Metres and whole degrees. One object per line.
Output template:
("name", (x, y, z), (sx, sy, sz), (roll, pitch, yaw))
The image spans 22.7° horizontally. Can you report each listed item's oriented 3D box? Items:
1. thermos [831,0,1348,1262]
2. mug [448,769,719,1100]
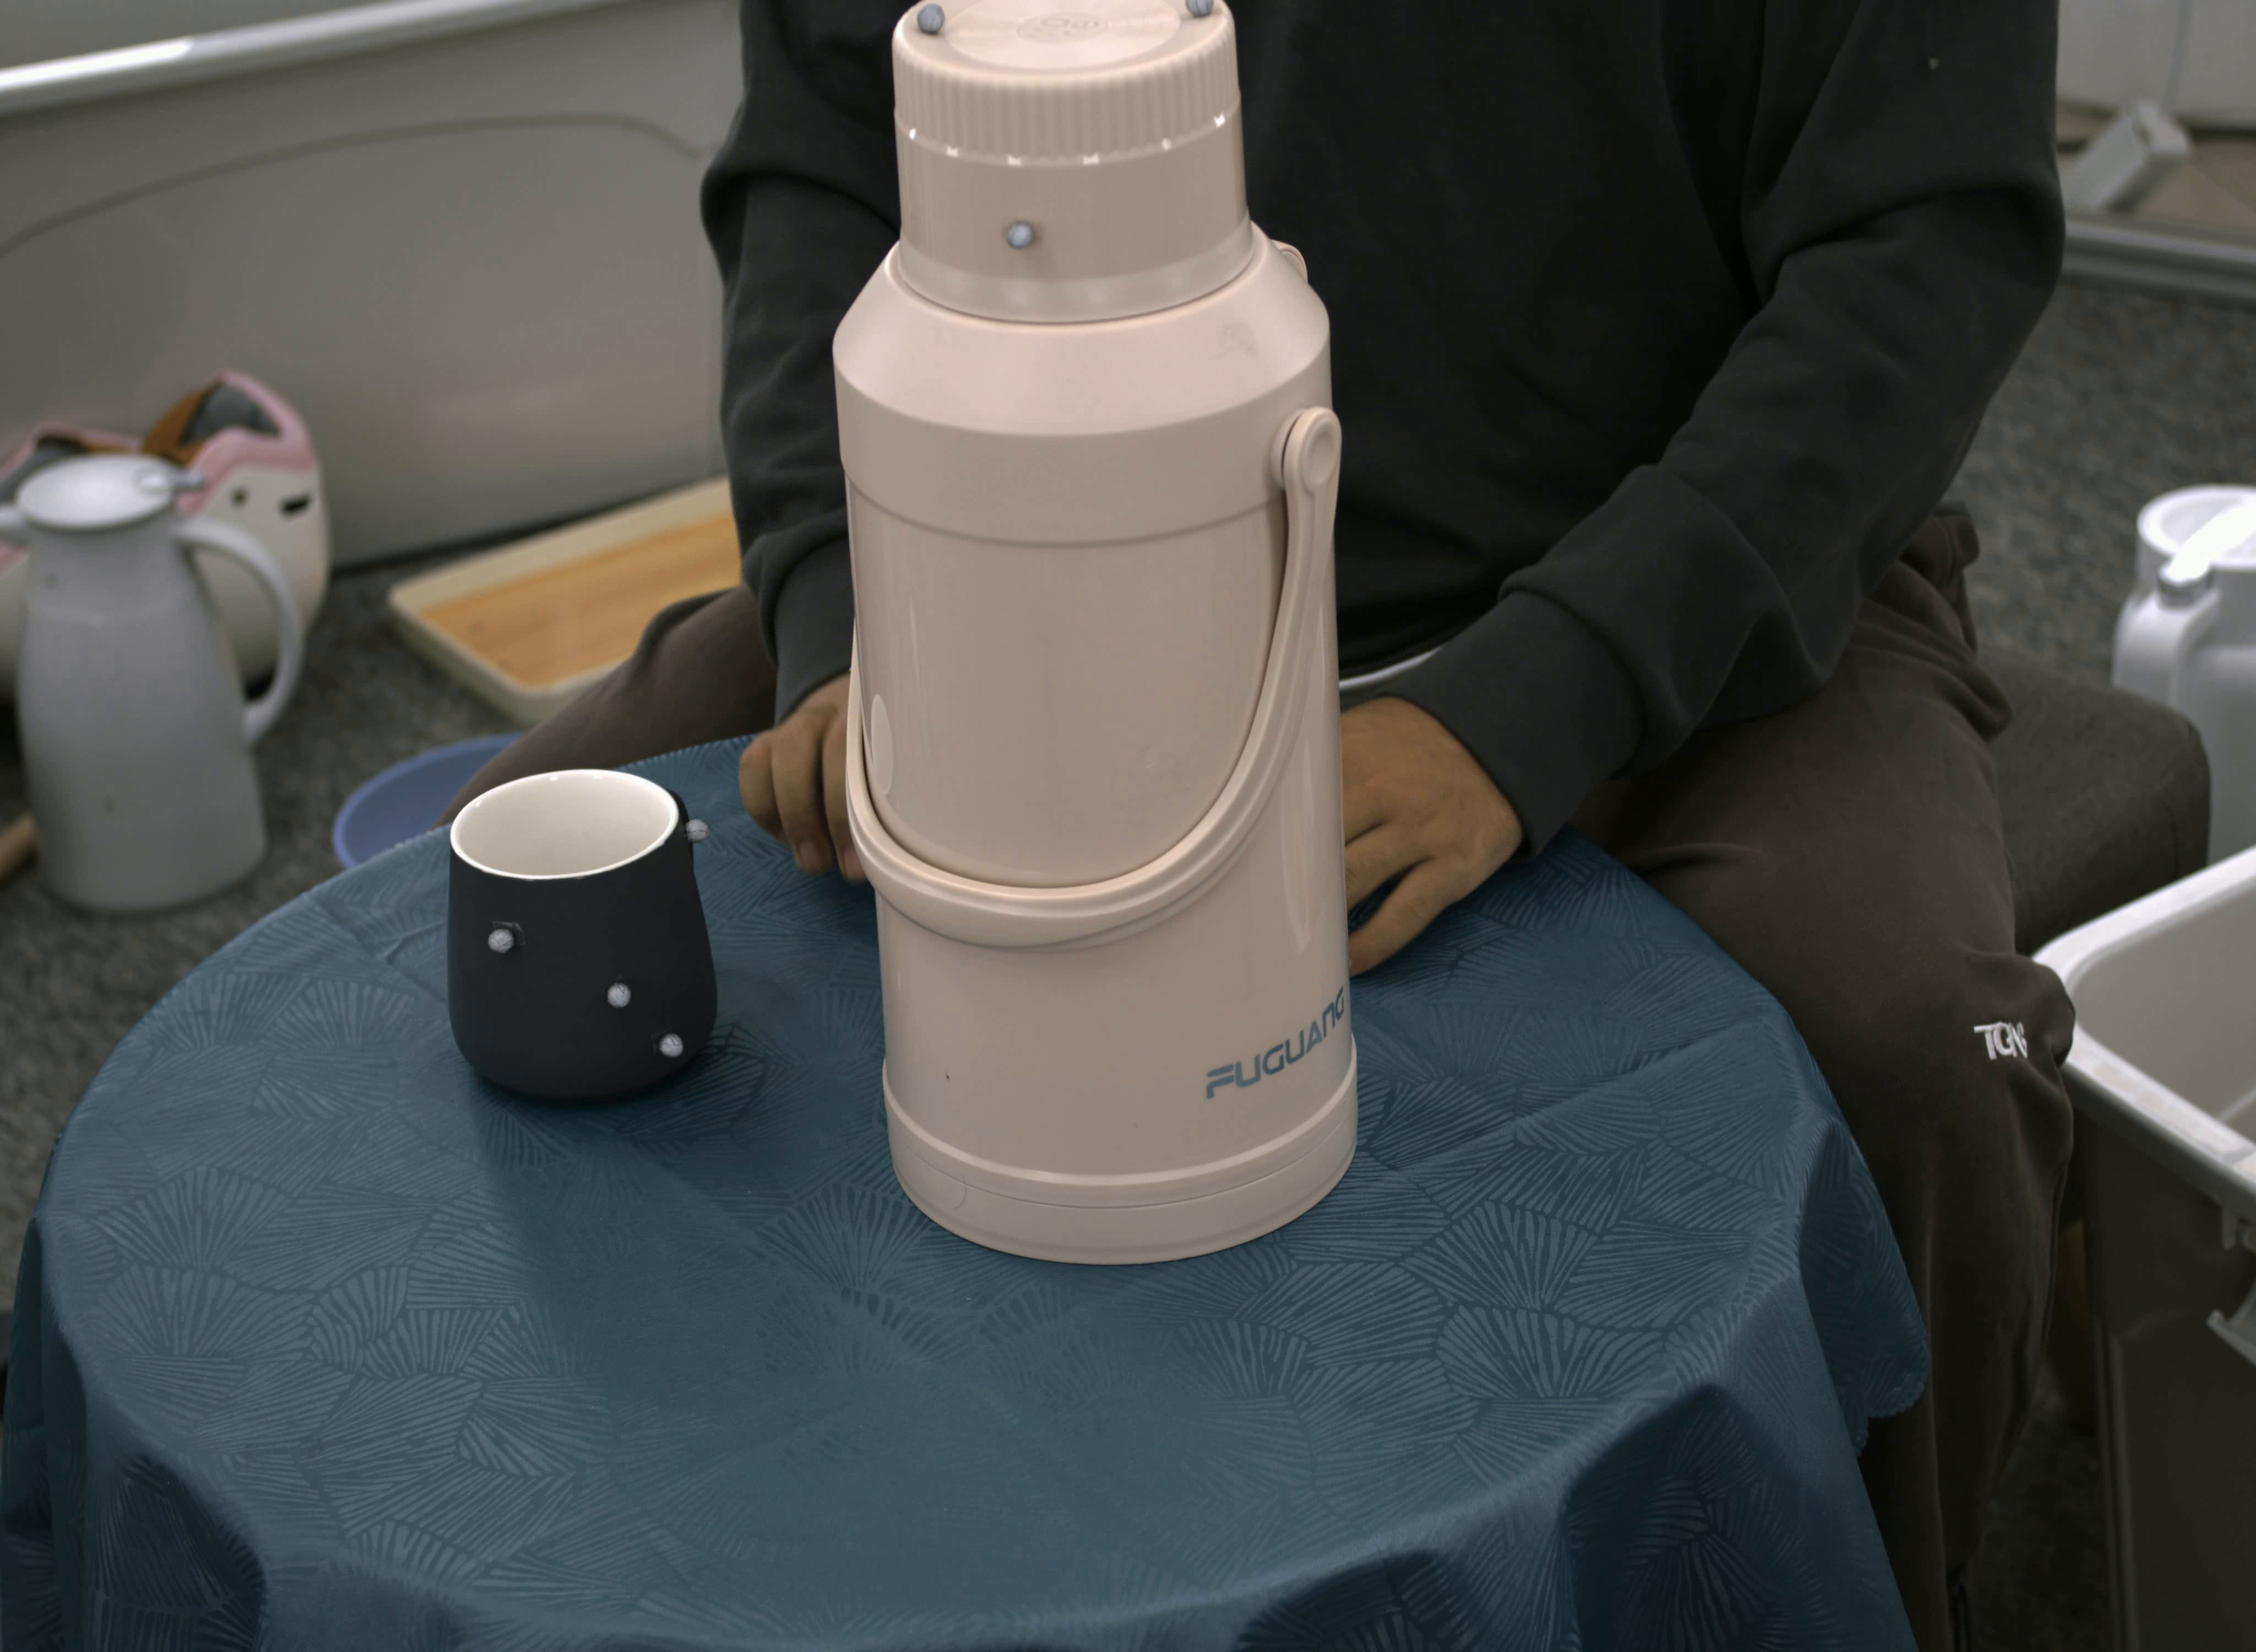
("thermos", (-0.003, -0.075, 1.819), (0.174, 0.402, 0.210), (13, 31, 30))
("mug", (-0.184, 0.032, 1.956), (0.093, 0.089, 0.125), (10, 30, 23))
